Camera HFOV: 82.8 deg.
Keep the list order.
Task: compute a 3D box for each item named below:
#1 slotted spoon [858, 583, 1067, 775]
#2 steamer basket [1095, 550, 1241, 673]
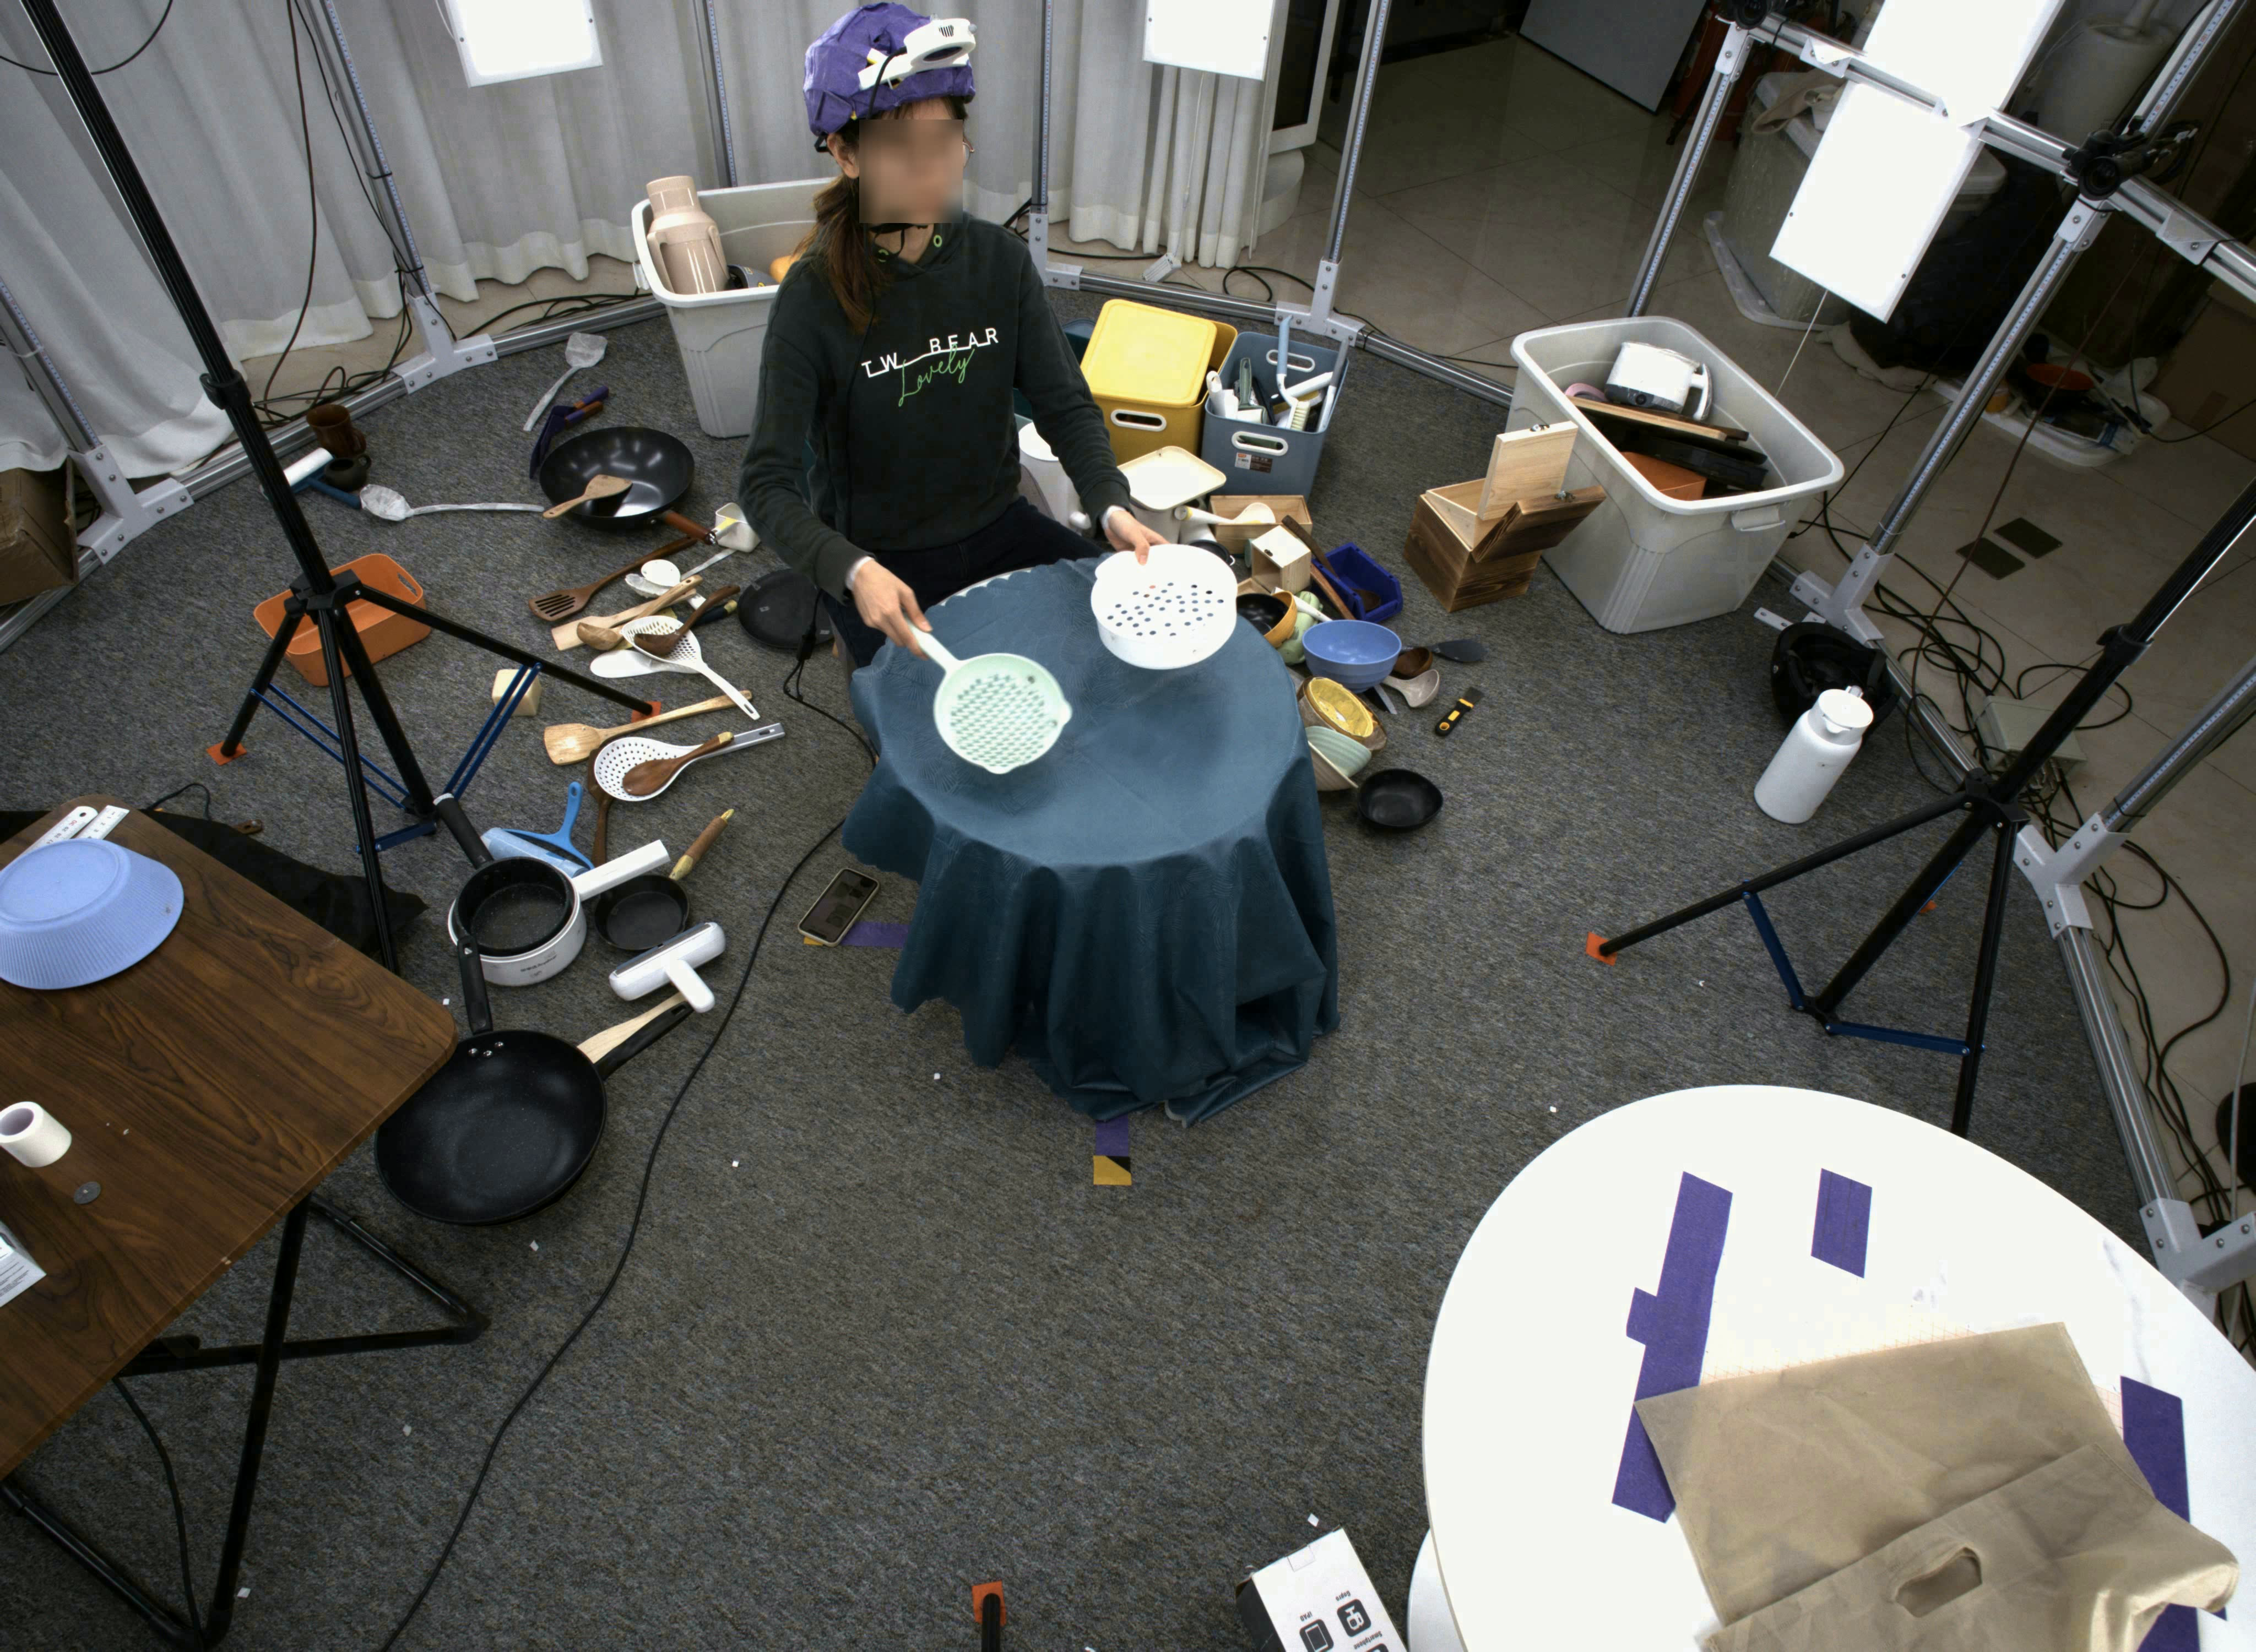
[{"bbox_3d":[-0.243,-0.213,1.734,0.171,0.074,0.361,-39,81,-23],"label":"slotted spoon"},{"bbox_3d":[0.058,-0.298,1.791,0.204,0.067,0.234,-39,53,-24],"label":"steamer basket"}]
